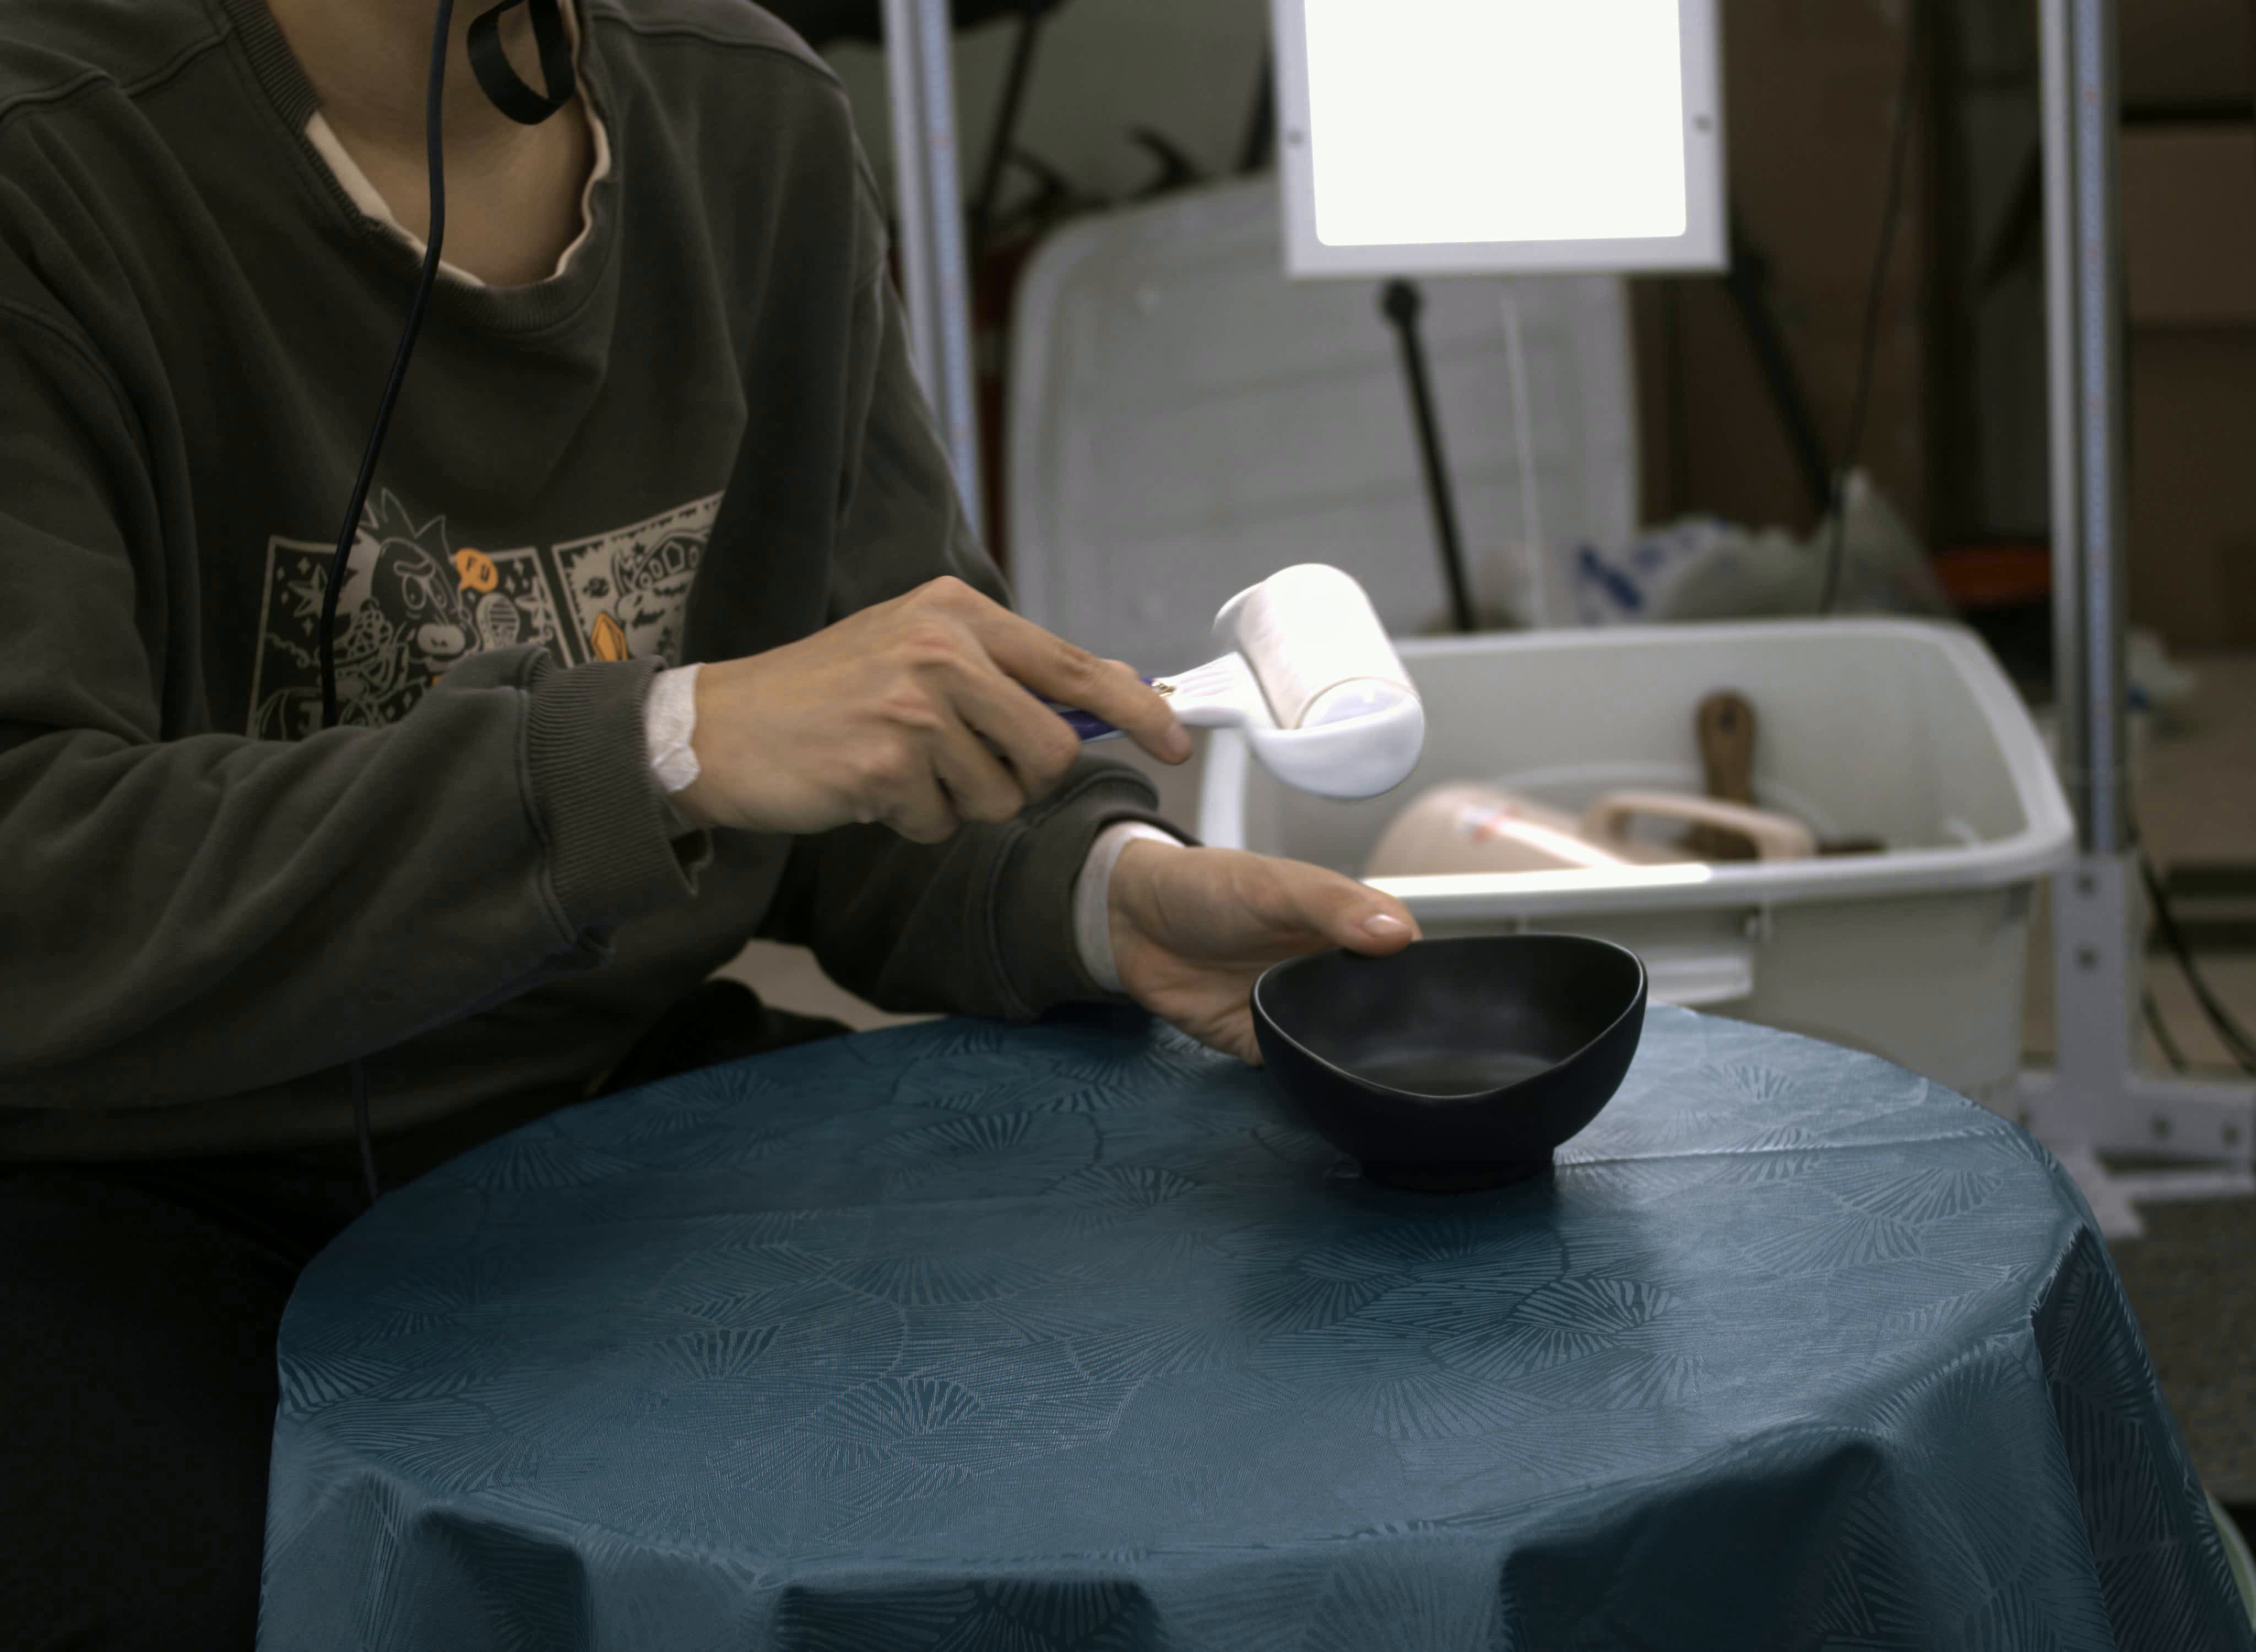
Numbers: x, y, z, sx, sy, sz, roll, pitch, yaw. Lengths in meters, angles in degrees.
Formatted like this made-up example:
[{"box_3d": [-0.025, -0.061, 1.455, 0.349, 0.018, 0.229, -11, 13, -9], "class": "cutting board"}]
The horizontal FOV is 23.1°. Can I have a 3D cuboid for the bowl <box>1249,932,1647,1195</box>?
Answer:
[{"box_3d": [0.113, 0.085, 1.891, 0.137, 0.067, 0.170, -6, 16, 2], "class": "bowl"}]

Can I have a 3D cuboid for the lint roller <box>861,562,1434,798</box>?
[{"box_3d": [0.004, -0.050, 1.797, 0.179, 0.050, 0.133, 2, 23, -6], "class": "lint roller"}]
